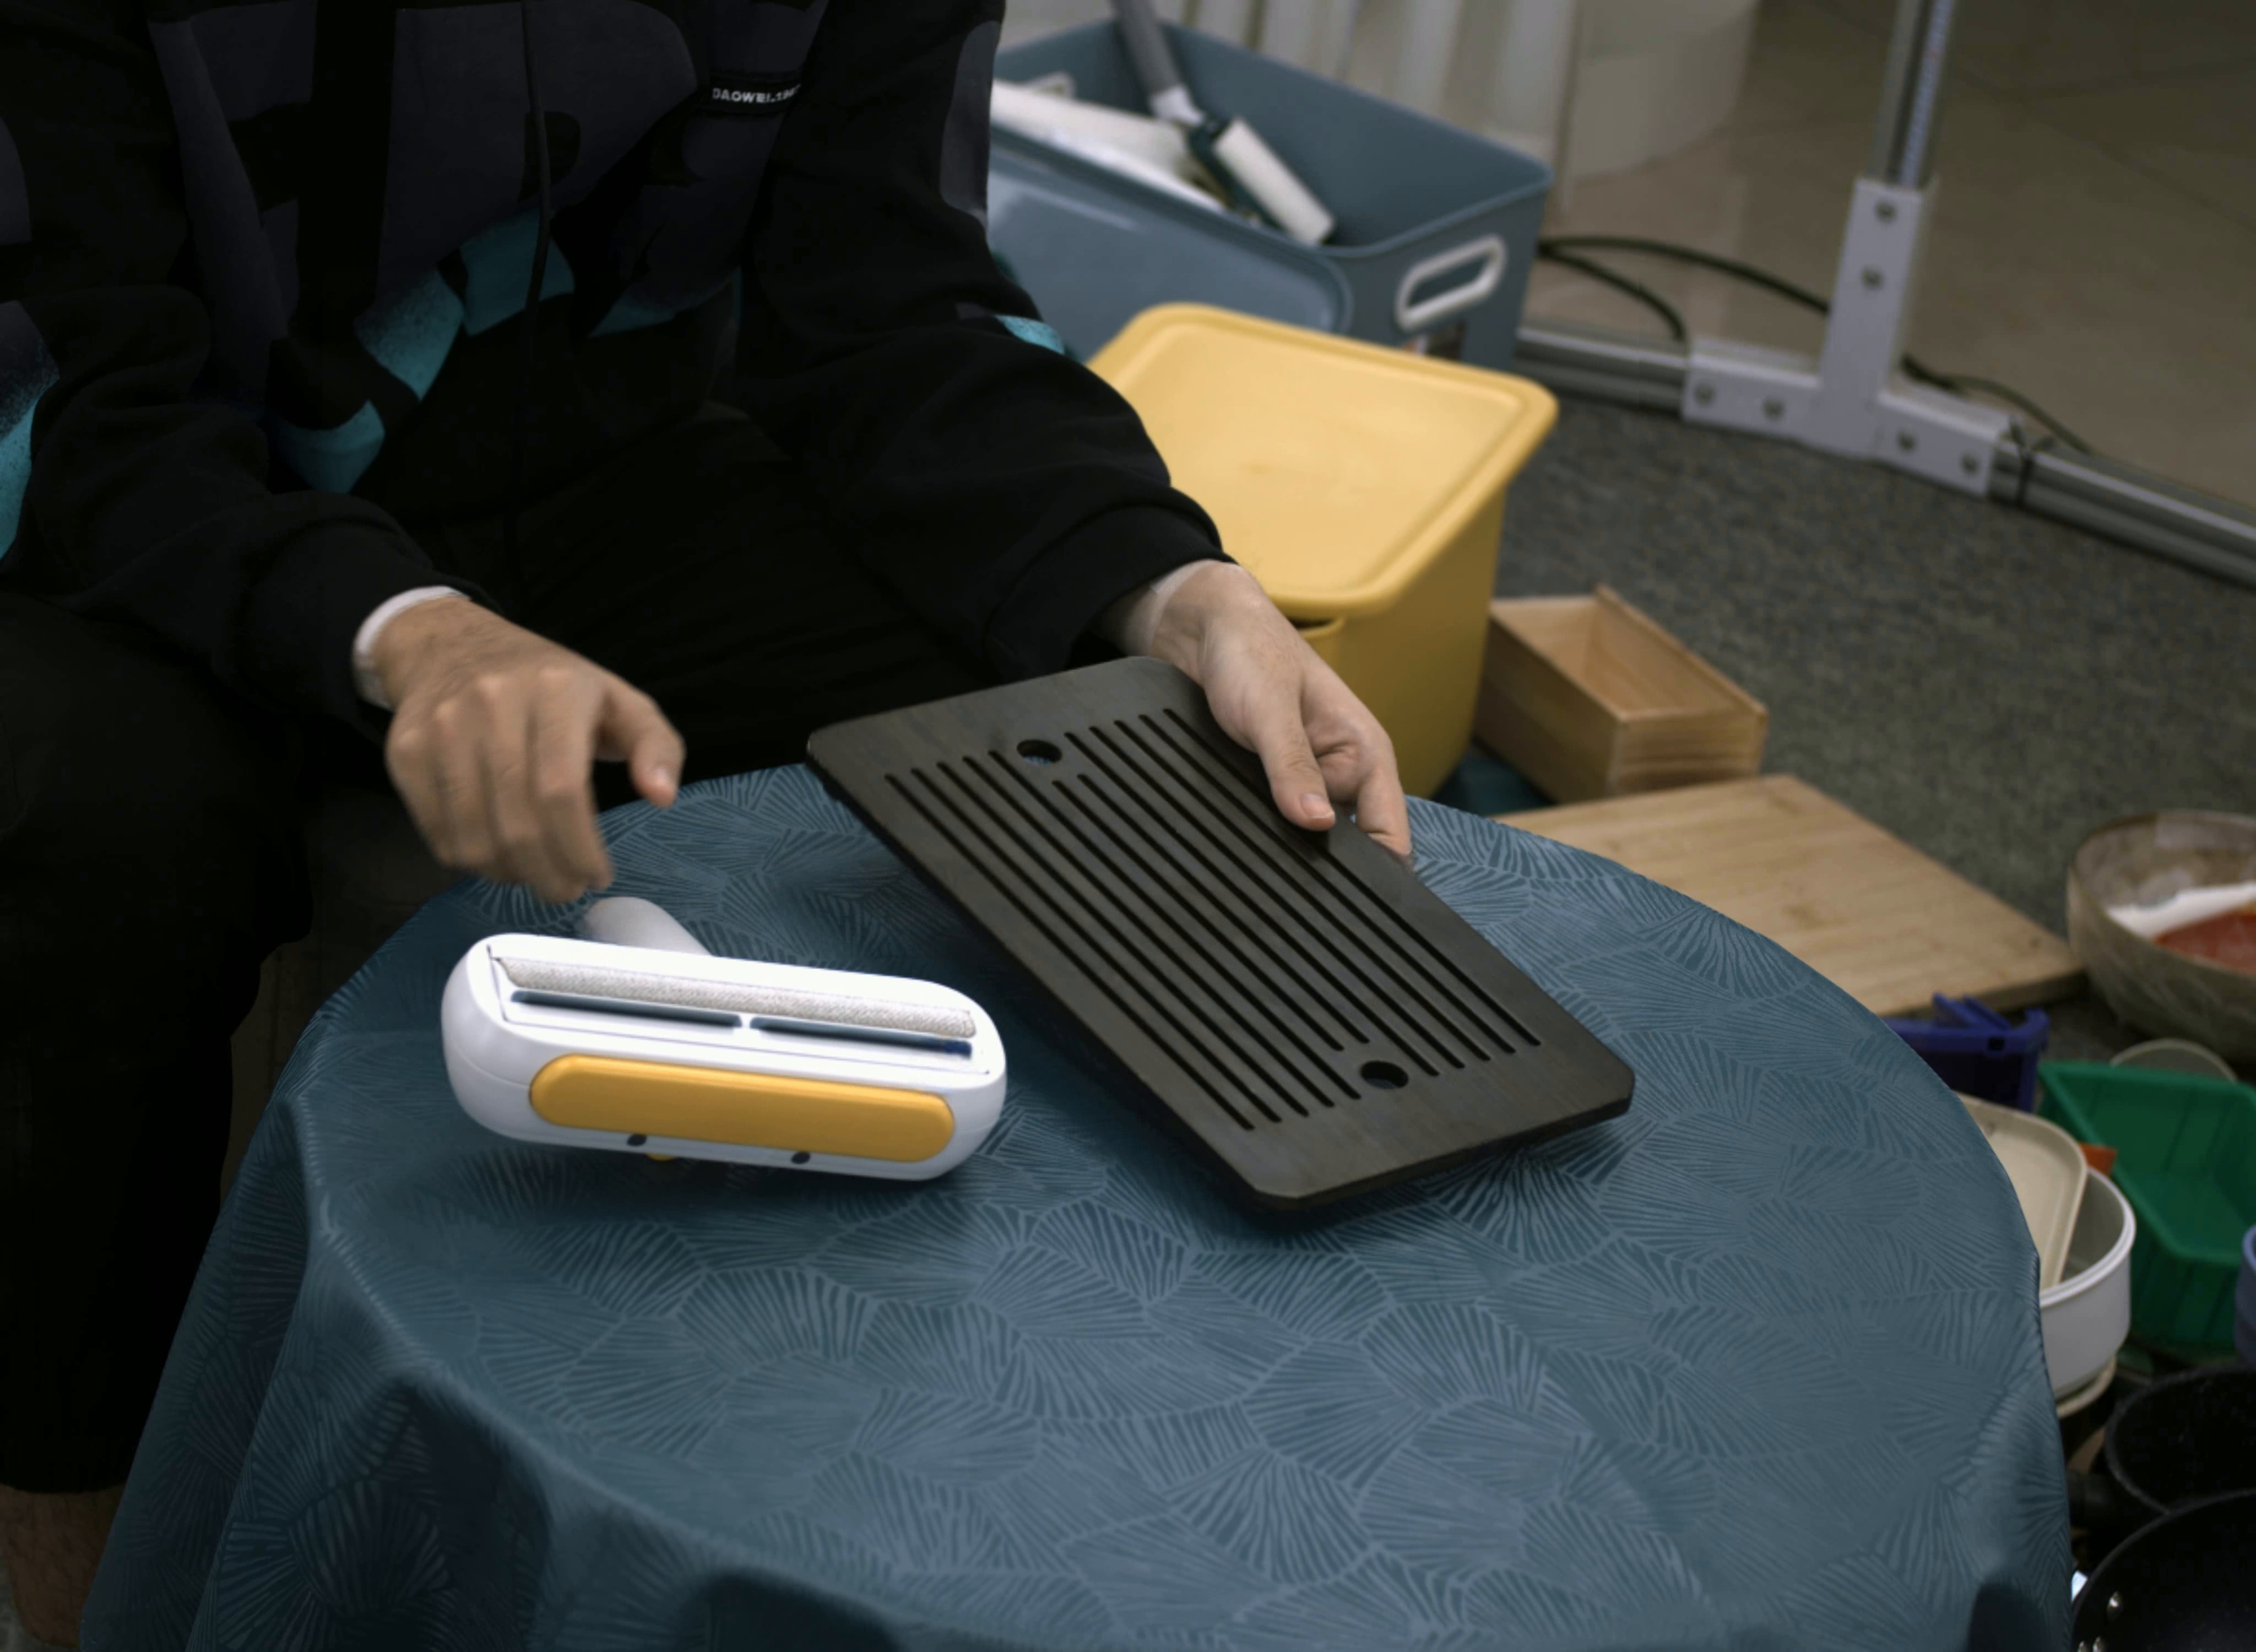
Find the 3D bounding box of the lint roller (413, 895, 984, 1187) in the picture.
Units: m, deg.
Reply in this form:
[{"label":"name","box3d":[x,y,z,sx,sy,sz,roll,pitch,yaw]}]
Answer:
[{"label":"lint roller","box3d":[-0.155,0.058,1.820,0.191,0.074,0.194,5,25,-15]}]

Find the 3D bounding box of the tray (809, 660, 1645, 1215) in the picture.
[{"label":"tray","box3d":[0.031,0.036,1.913,0.169,0.018,0.309,-15,40,-32]}]
